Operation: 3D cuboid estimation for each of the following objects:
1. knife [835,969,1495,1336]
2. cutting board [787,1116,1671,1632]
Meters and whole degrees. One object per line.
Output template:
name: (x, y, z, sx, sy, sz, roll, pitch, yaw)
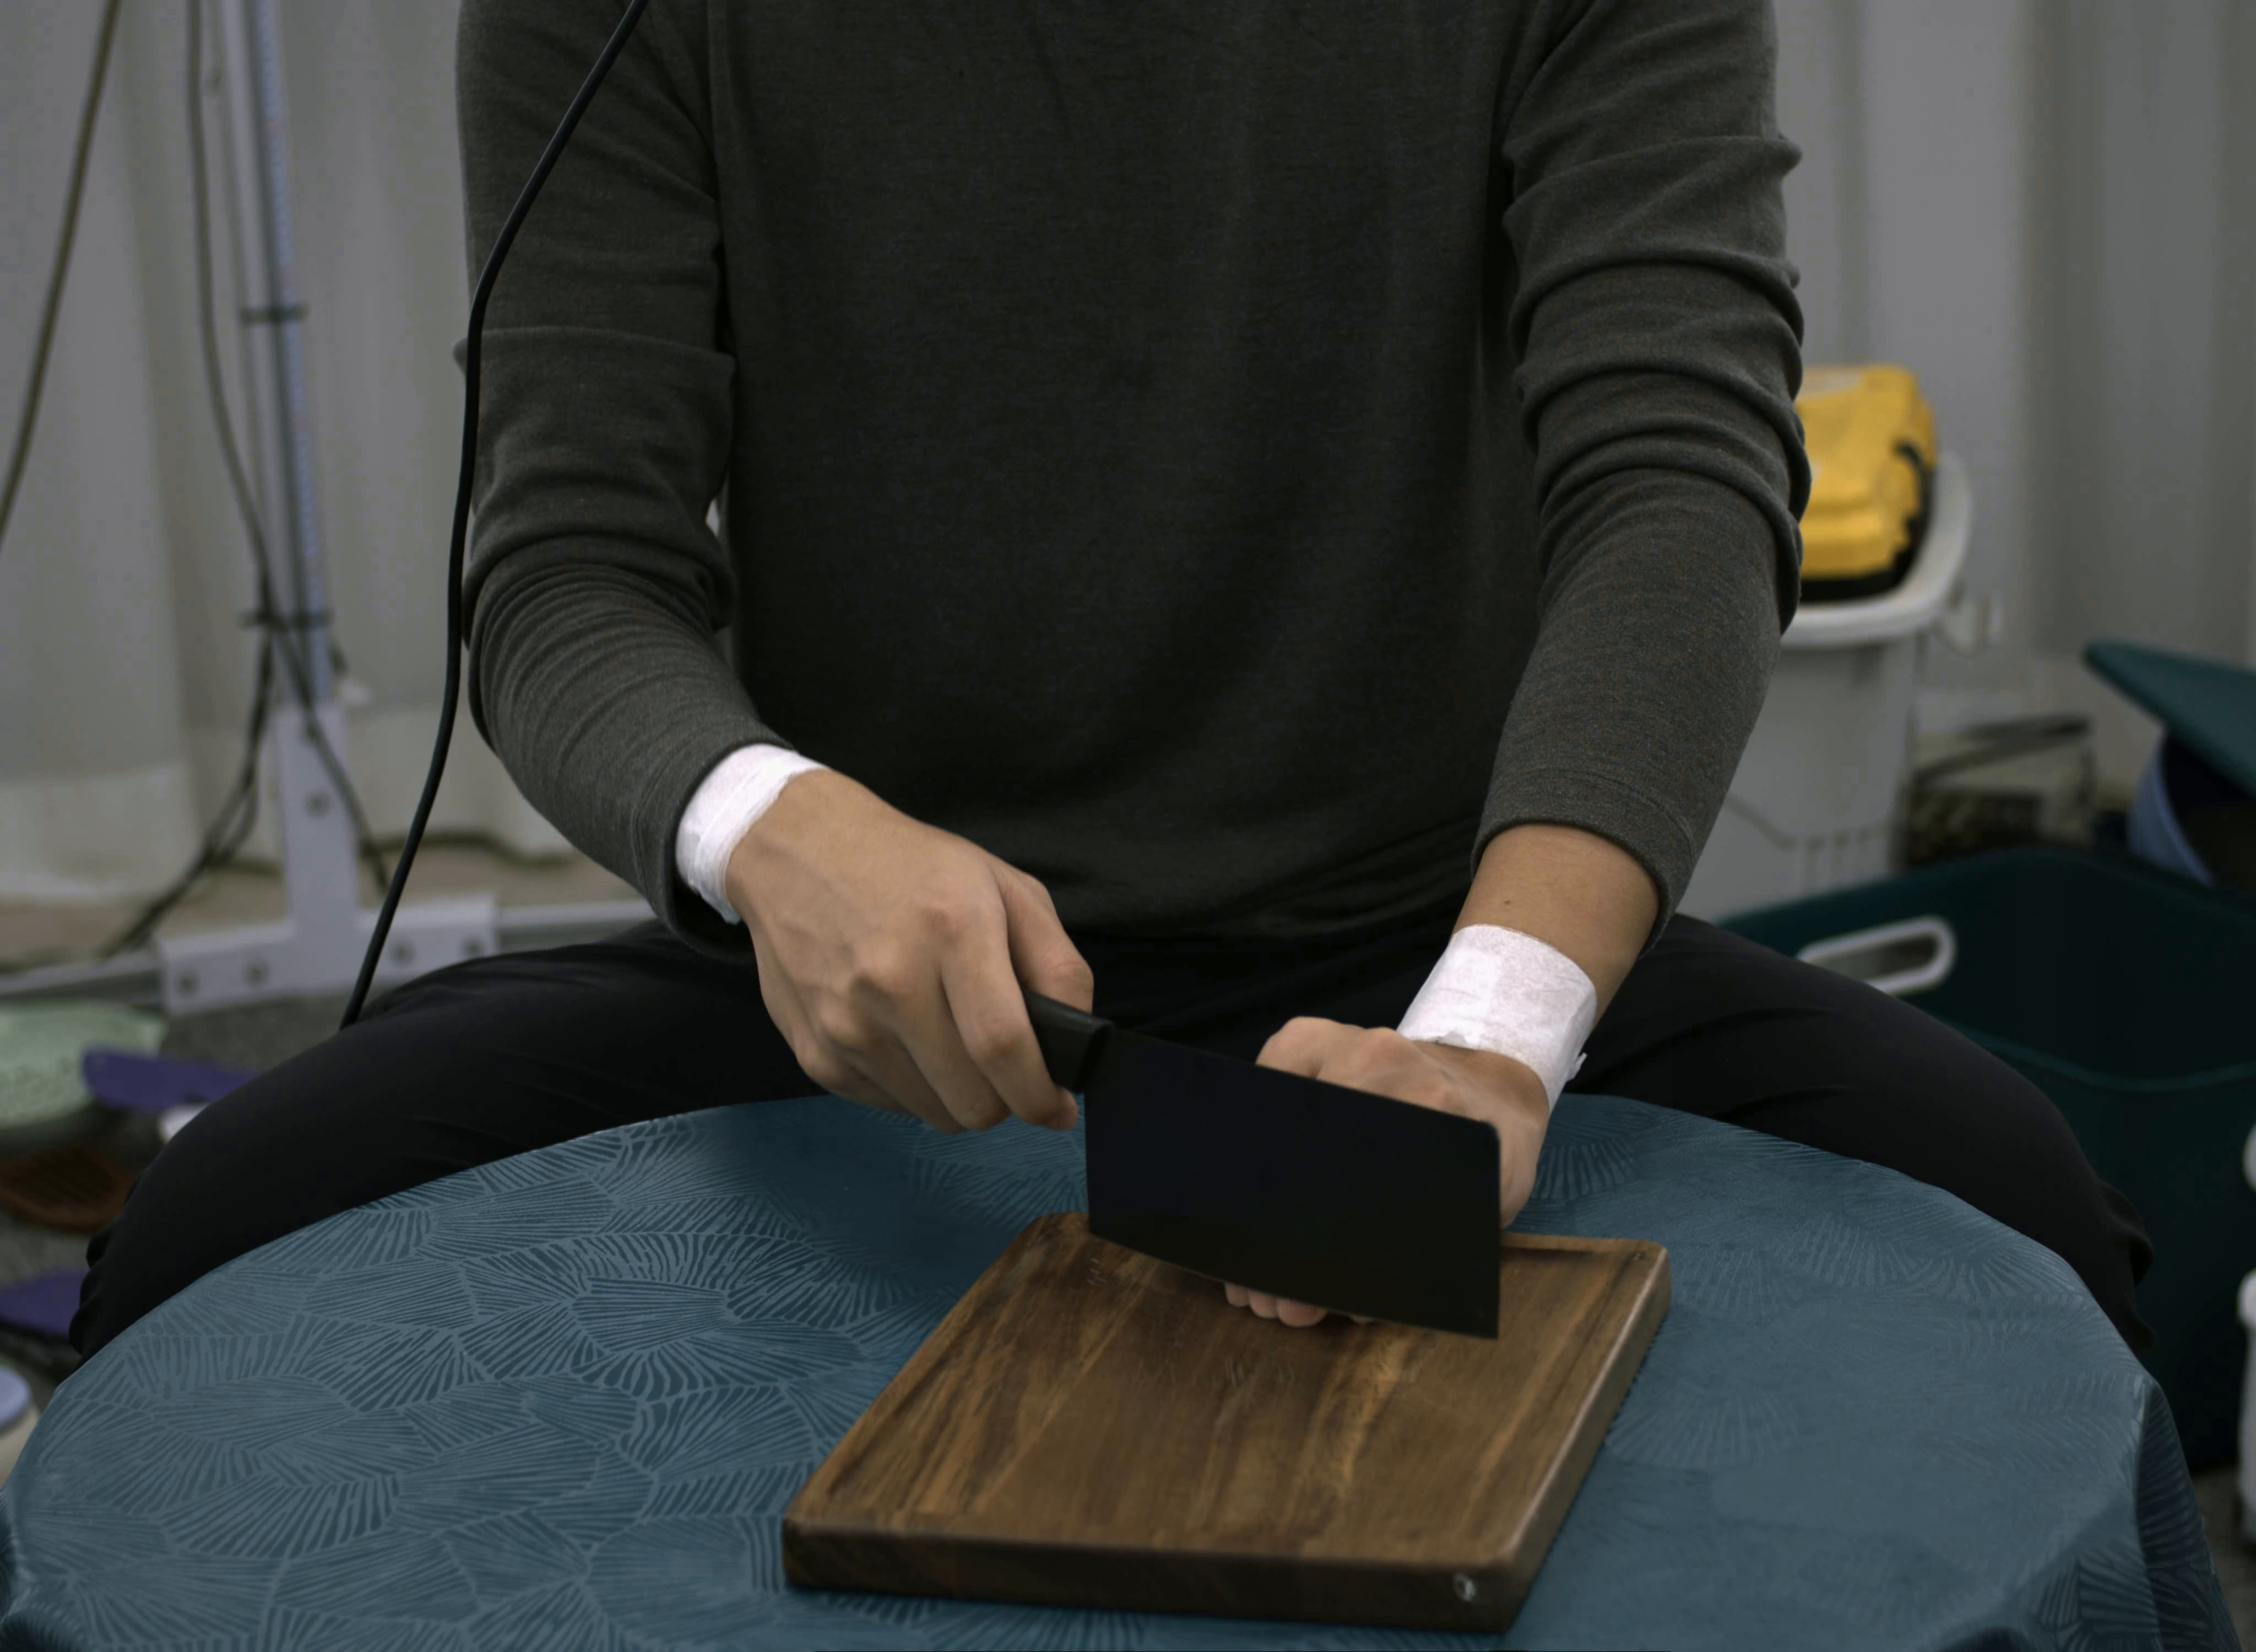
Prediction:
knife: (0.007, 0.089, 1.581, 0.021, 0.081, 0.304, -7, 15, -37)
cutting board: (0.047, 0.146, 1.550, 0.201, 0.023, 0.353, 2, 15, 15)
